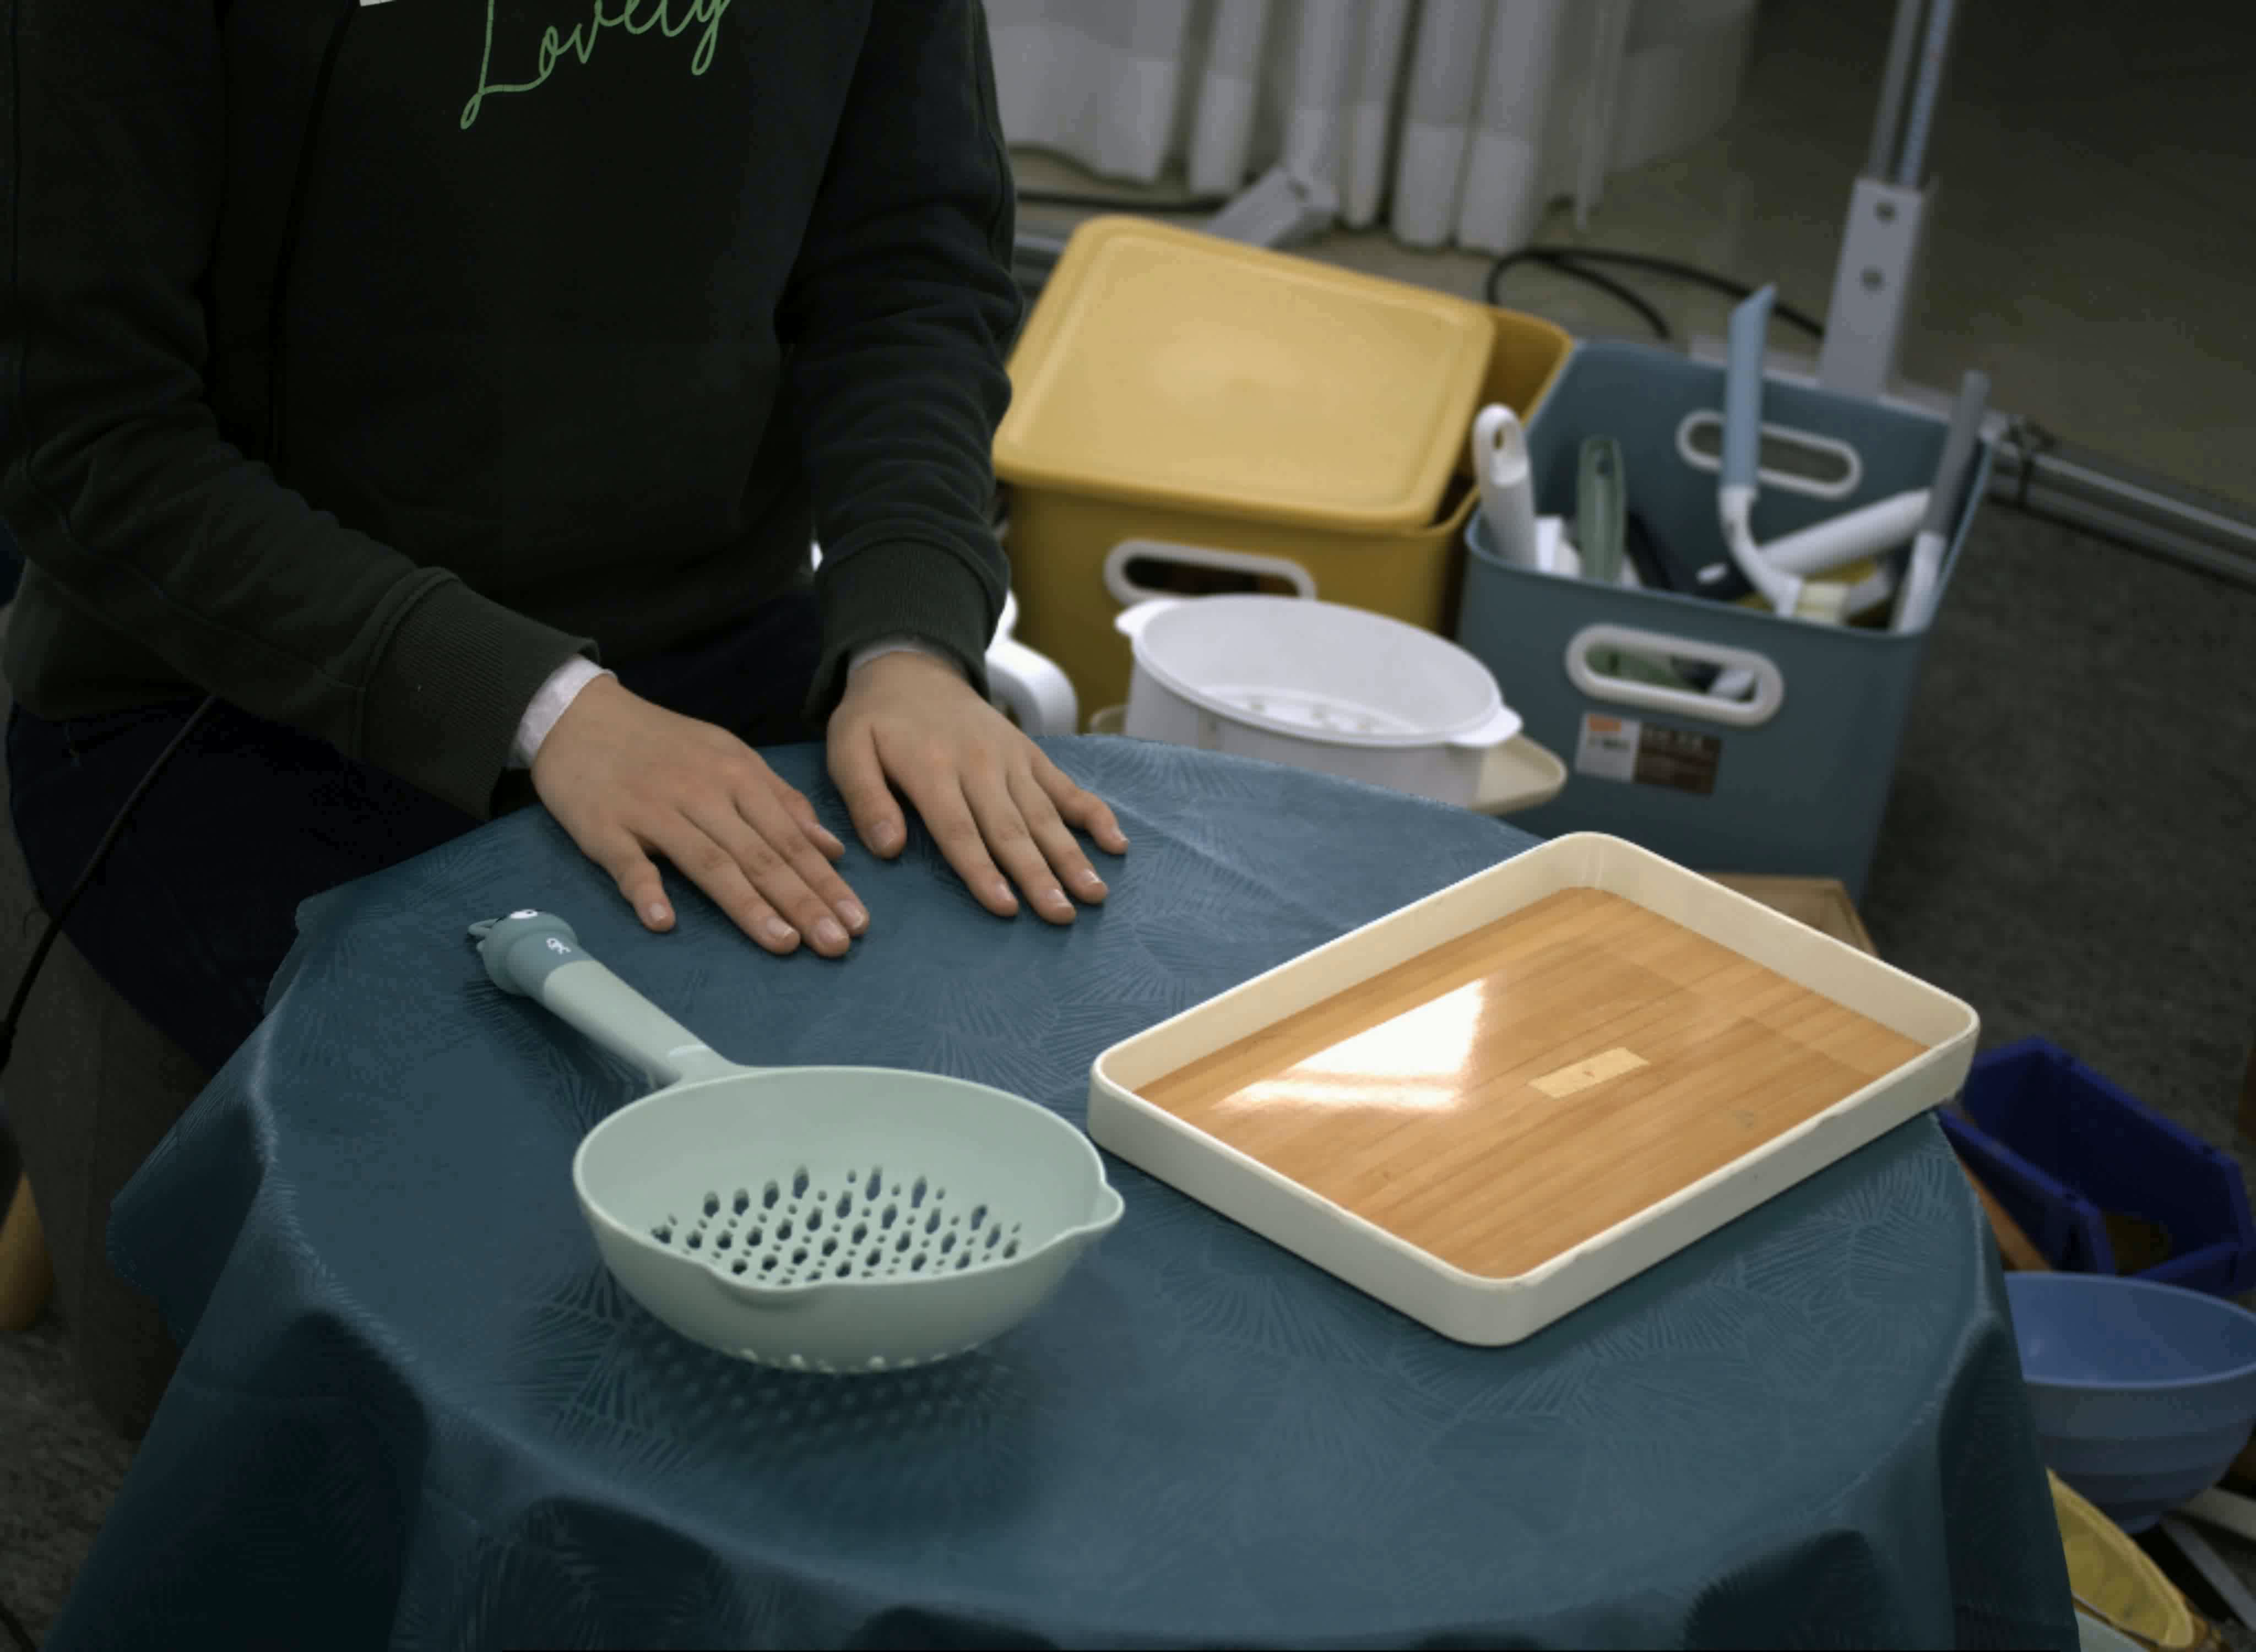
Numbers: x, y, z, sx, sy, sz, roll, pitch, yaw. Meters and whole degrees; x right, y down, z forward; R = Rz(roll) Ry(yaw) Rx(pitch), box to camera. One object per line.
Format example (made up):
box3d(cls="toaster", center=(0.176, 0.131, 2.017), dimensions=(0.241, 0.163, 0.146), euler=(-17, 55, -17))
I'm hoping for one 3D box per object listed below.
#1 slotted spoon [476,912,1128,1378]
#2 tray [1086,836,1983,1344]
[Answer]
box3d(cls="slotted spoon", center=(-0.140, 0.090, 1.764), dimensions=(0.168, 0.075, 0.362), euler=(-9, 30, -29))
box3d(cls="tray", center=(0.146, 0.087, 1.876), dimensions=(0.193, 0.027, 0.299), euler=(27, 33, 34))
